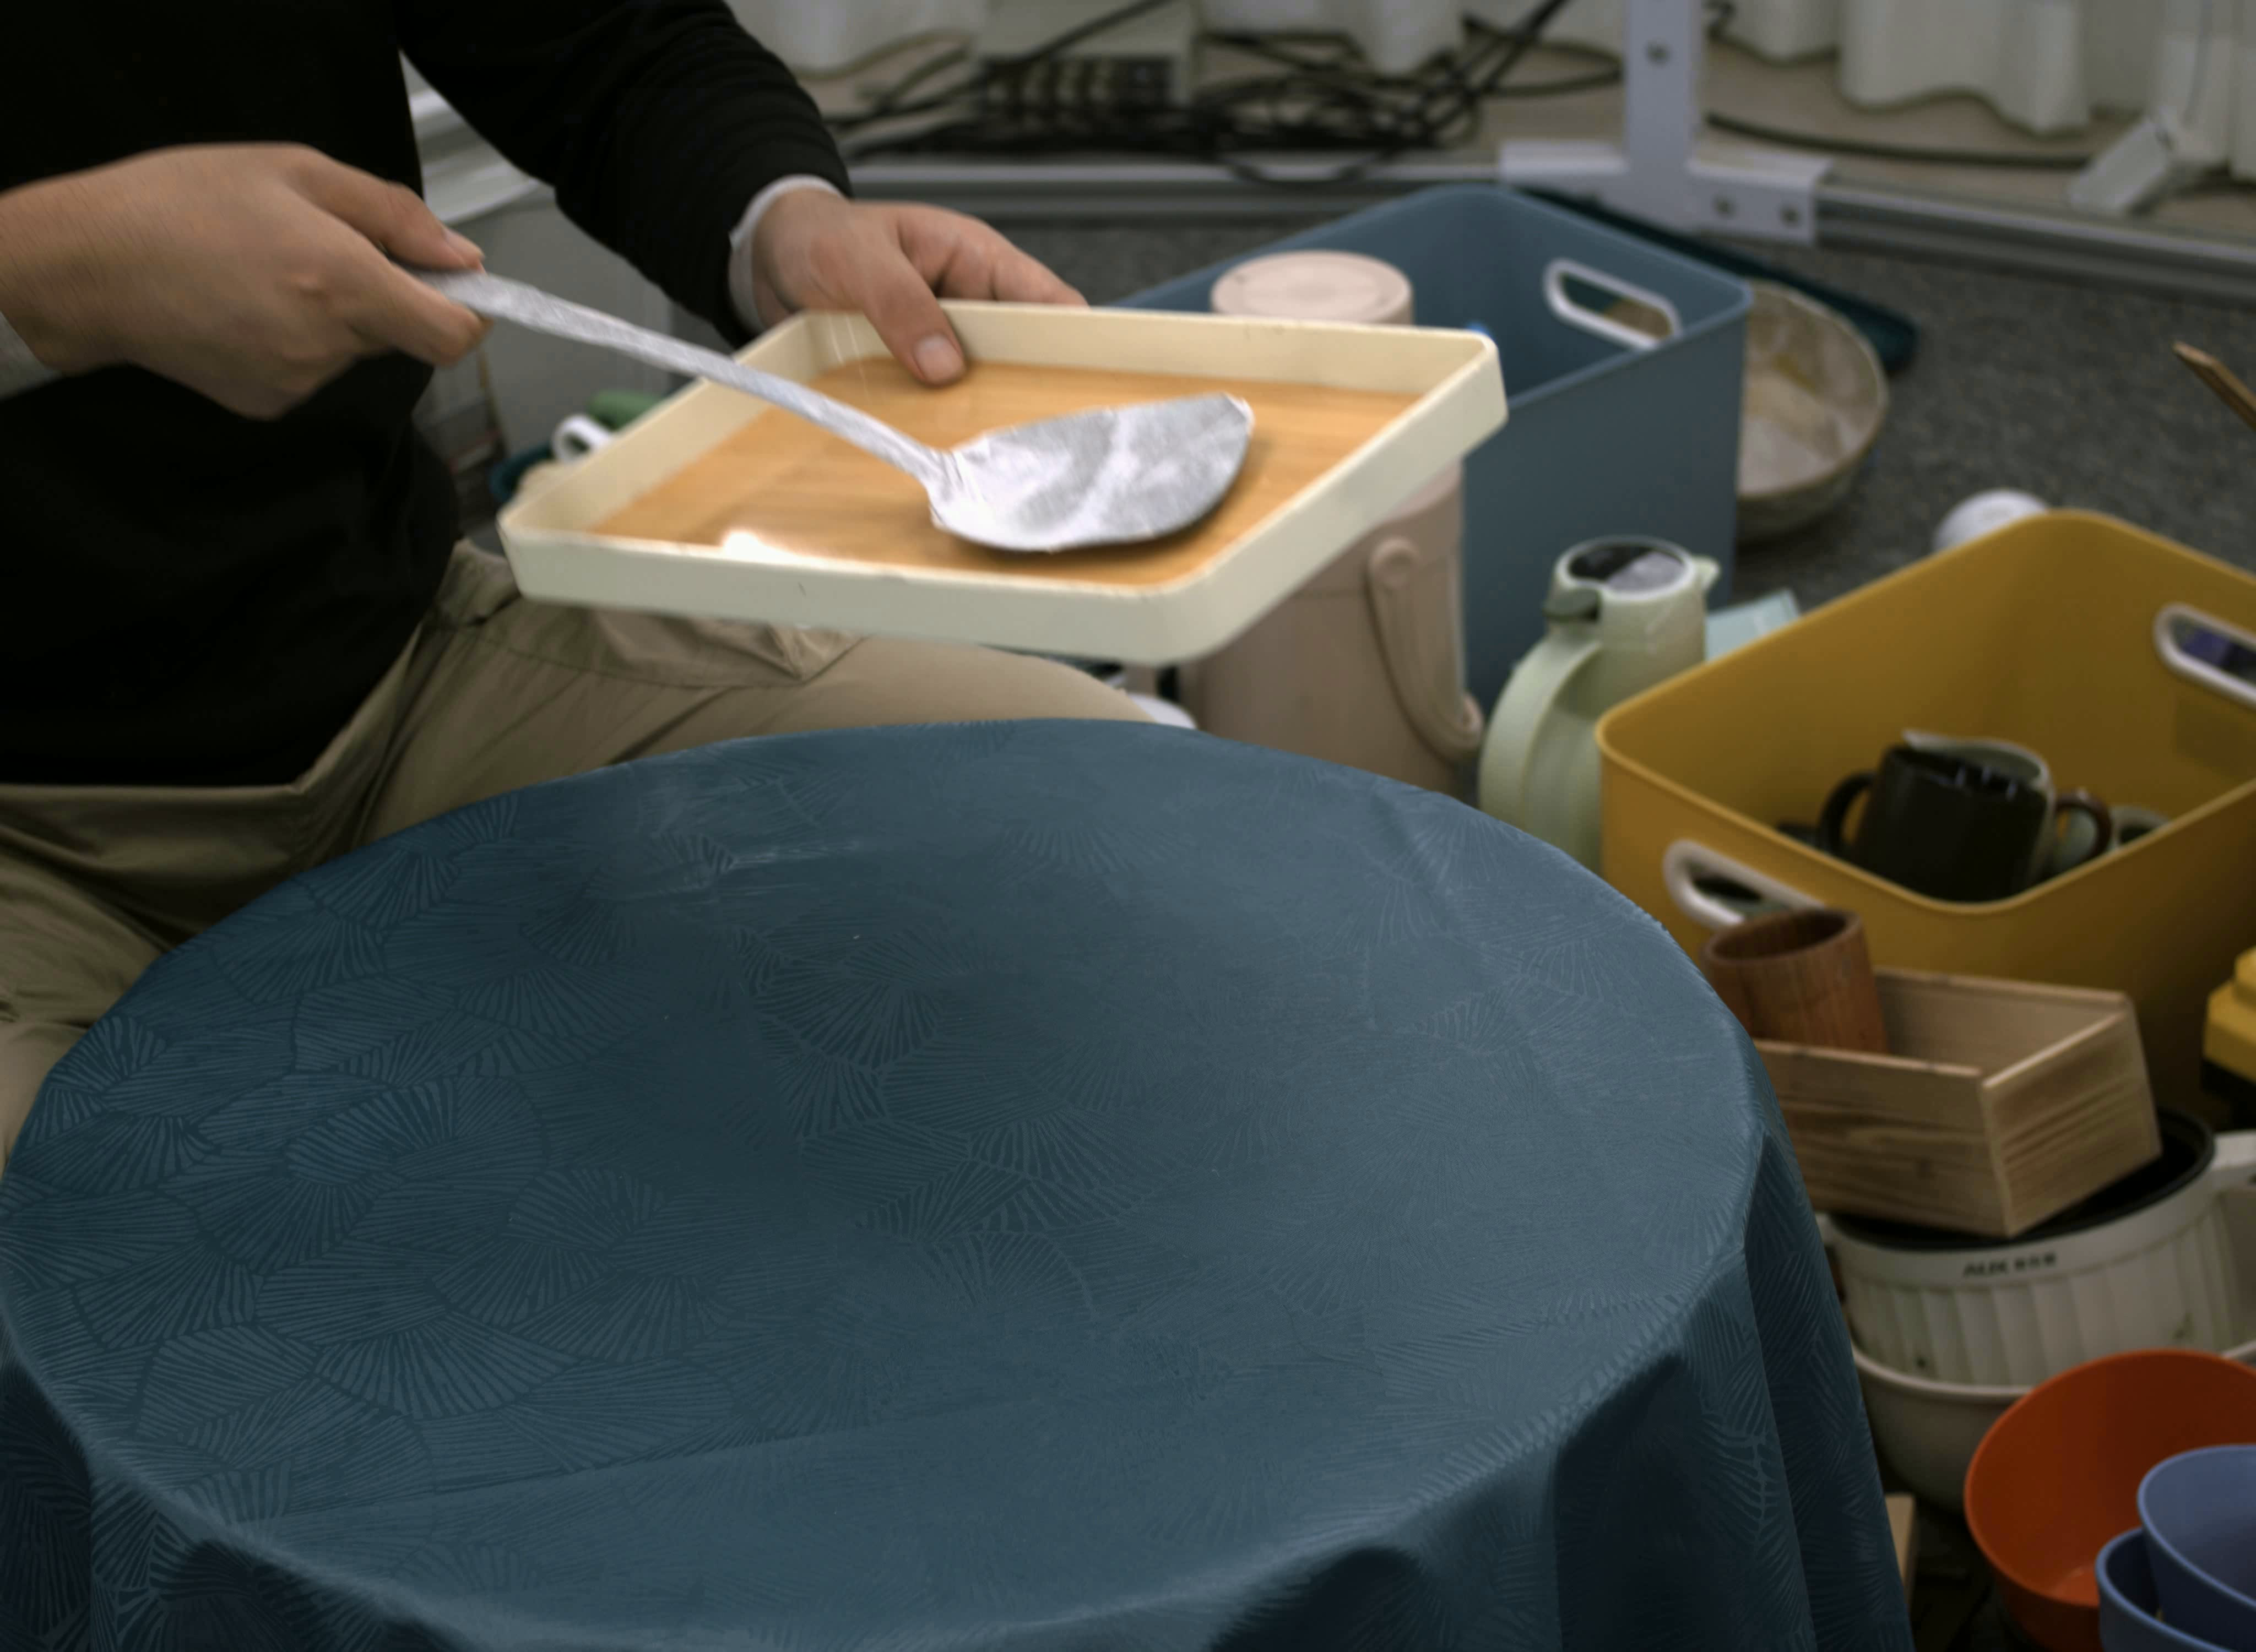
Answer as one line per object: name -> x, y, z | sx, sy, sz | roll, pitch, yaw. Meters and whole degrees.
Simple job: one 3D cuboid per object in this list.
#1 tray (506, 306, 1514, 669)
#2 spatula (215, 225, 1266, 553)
tray -> -0.041, -0.114, 1.840 | 0.298, 0.027, 0.194 | 7, 33, 39
spatula -> -0.134, -0.151, 1.831 | 0.363, 0.044, 0.100 | 18, 36, 9
